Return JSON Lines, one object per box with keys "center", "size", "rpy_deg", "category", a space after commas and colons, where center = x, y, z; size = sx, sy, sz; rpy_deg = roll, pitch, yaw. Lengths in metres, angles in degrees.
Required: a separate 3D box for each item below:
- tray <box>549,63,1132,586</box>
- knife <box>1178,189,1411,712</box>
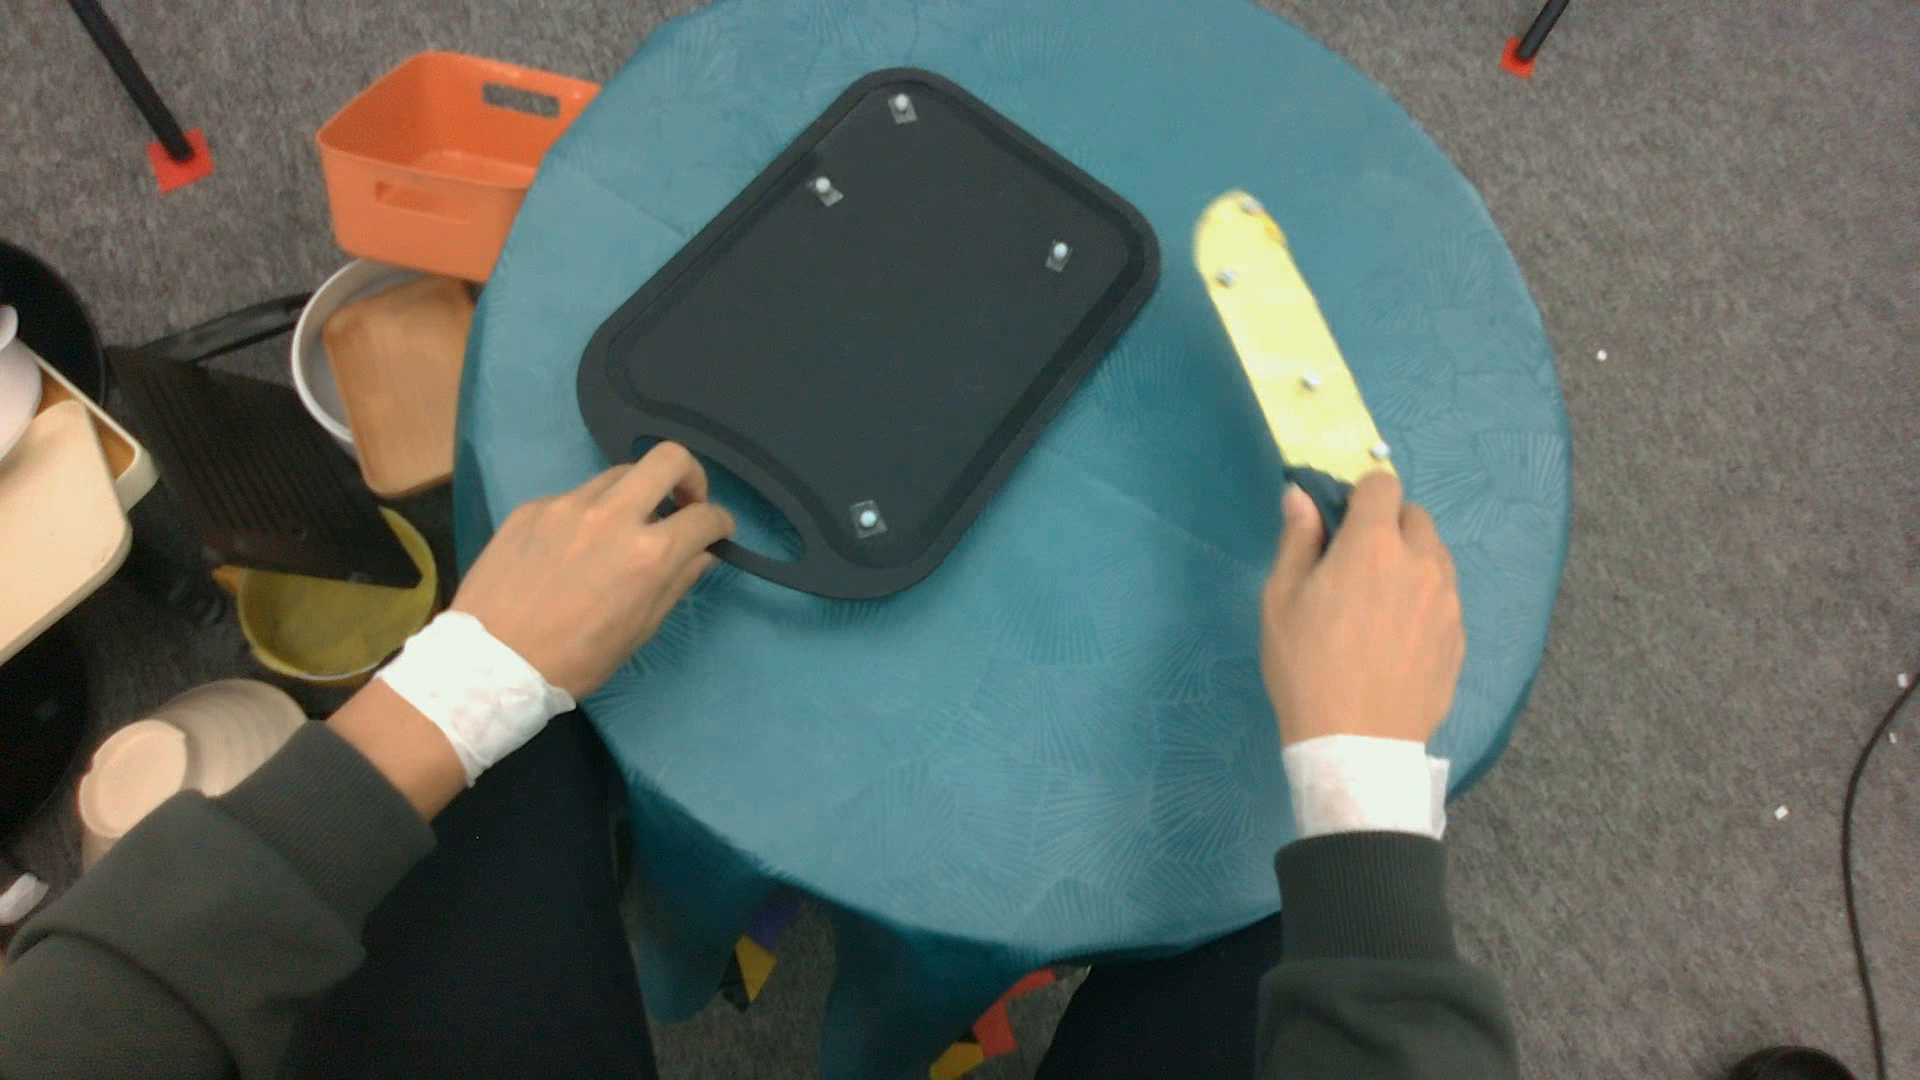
{"center": [-0.055, -0.123, 0.725], "size": [0.211, 0.010, 0.327], "rpy_deg": [34, 61, 5], "category": "tray"}
{"center": [0.170, -0.055, 0.684], "size": [0.081, 0.027, 0.290], "rpy_deg": [-3, 68, -32], "category": "knife"}
